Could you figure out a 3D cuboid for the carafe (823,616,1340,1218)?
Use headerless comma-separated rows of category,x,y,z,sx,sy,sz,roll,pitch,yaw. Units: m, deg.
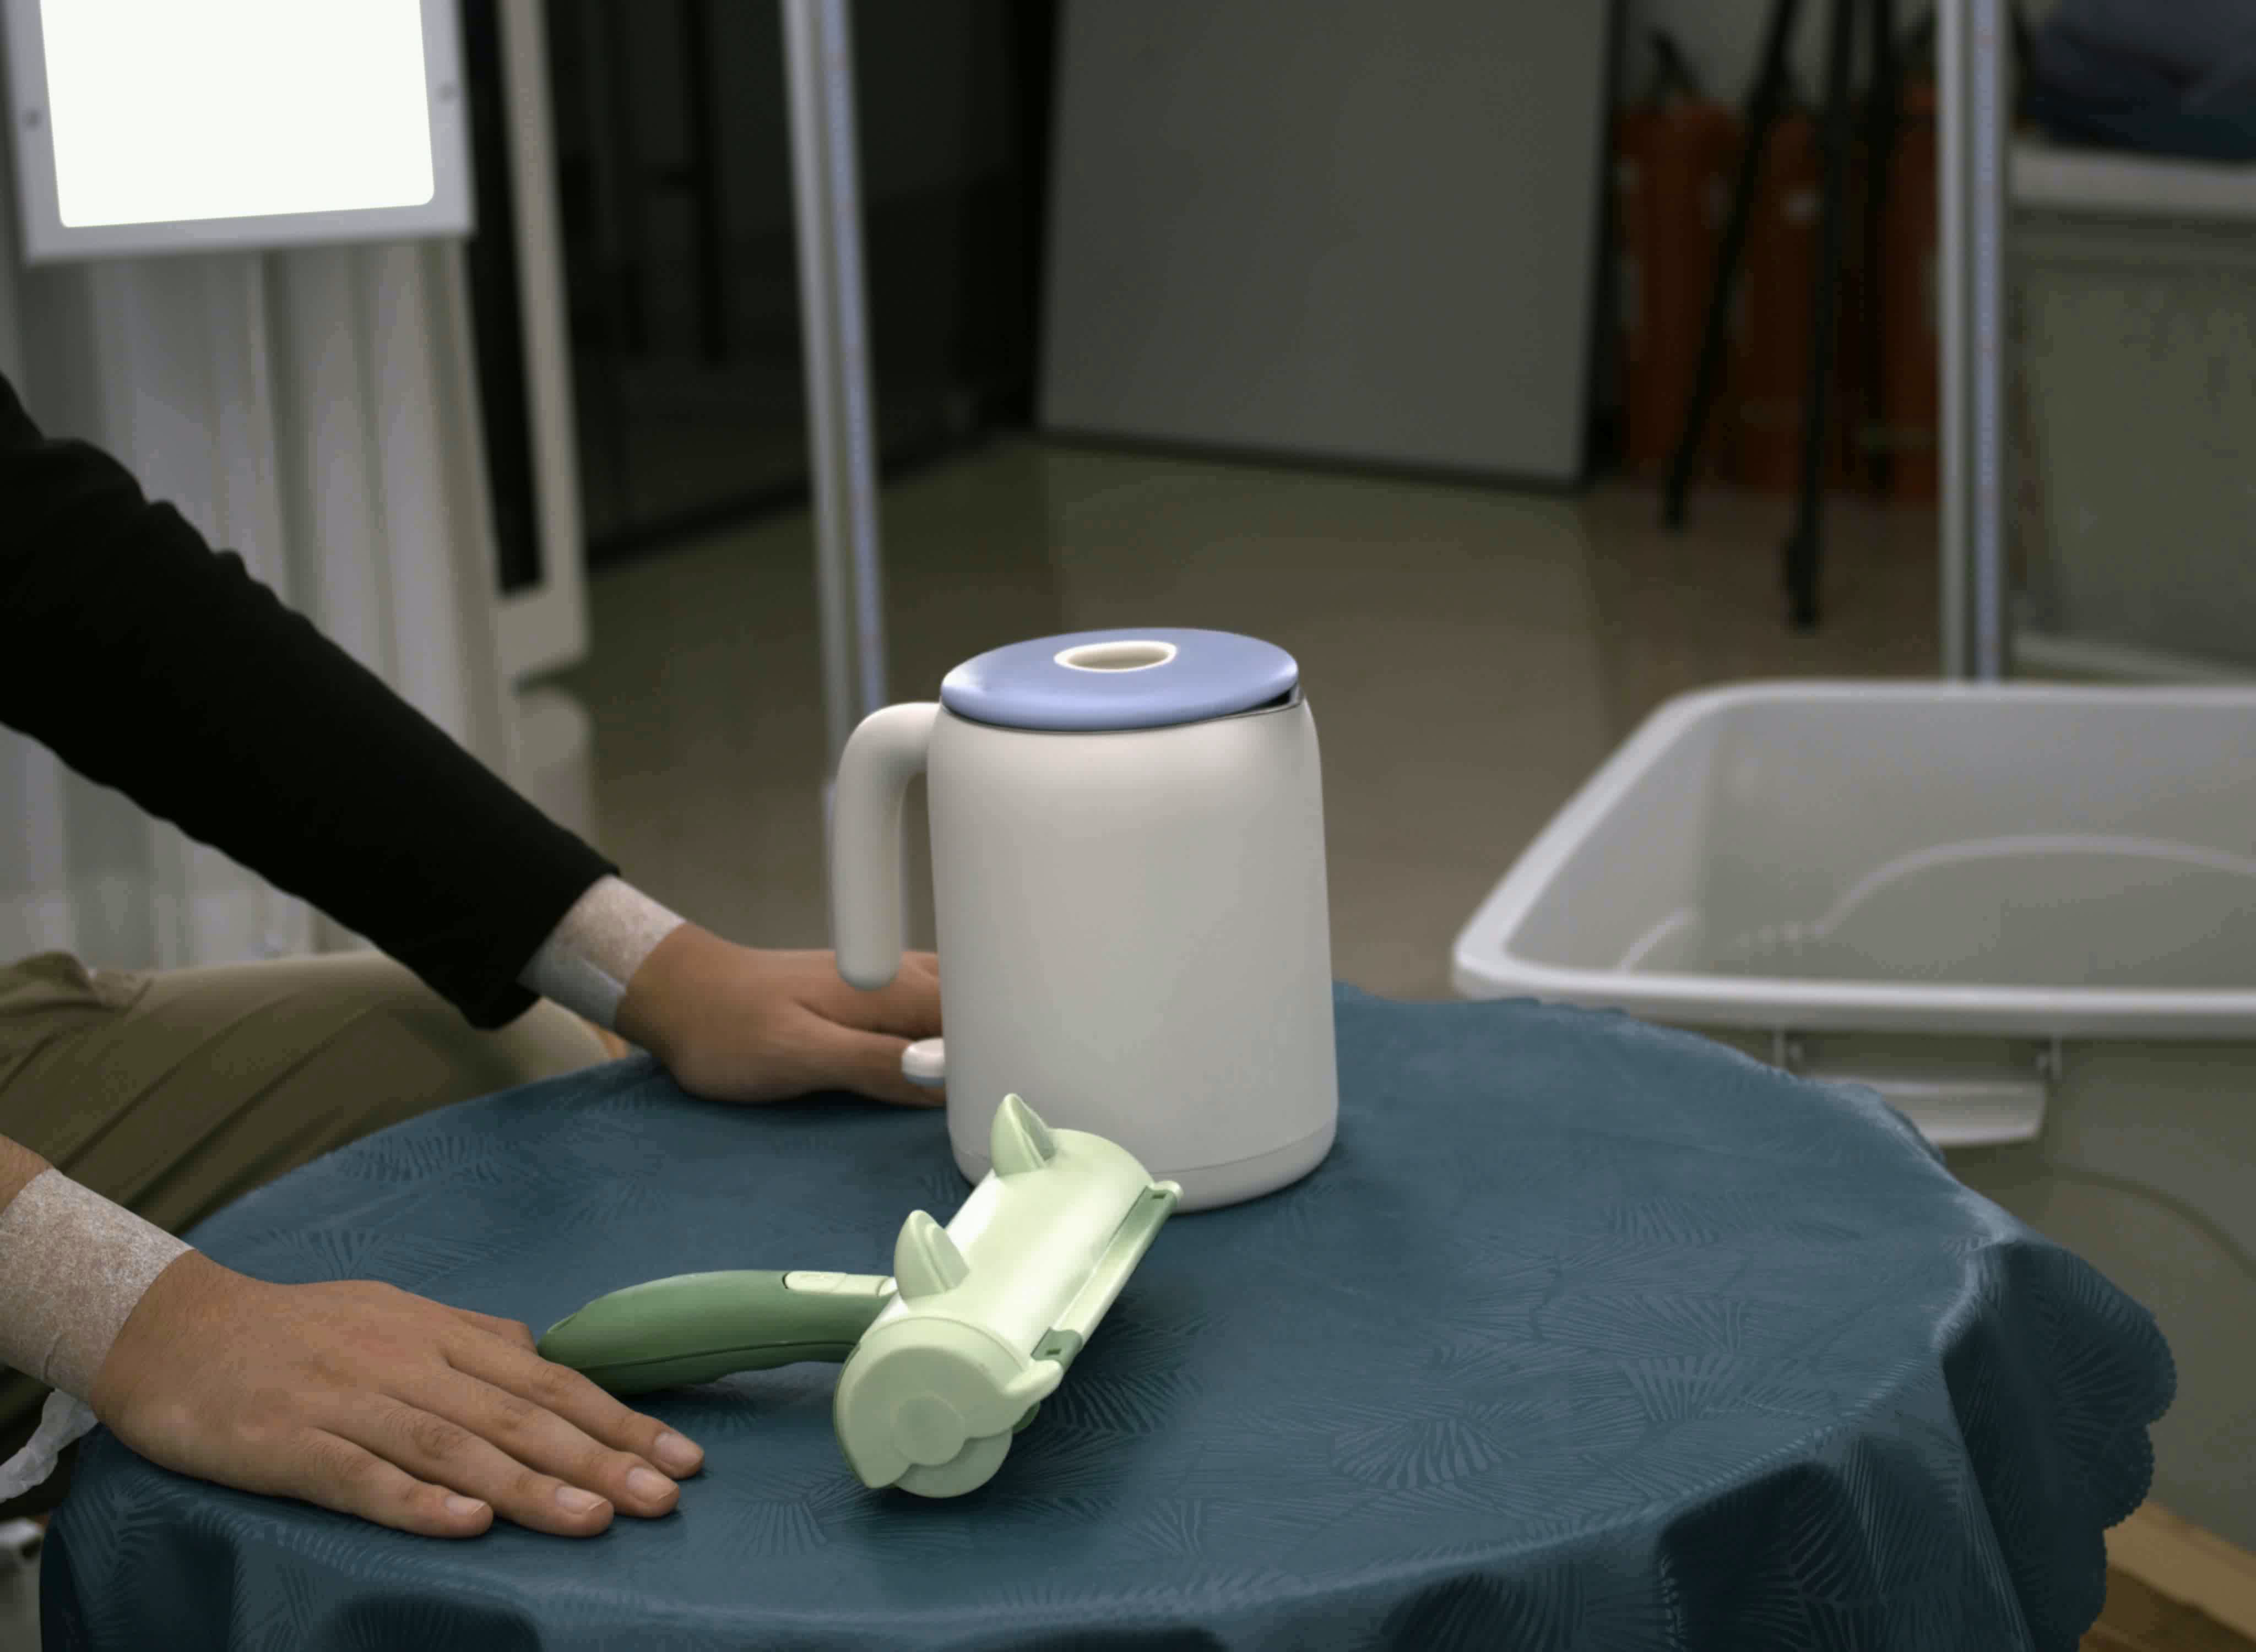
carafe,-0.020,0.028,1.790,0.192,0.184,0.130,2,14,31

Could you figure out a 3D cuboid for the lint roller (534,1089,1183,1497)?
lint roller,-0.089,0.131,1.592,0.182,0.083,0.197,2,13,13
